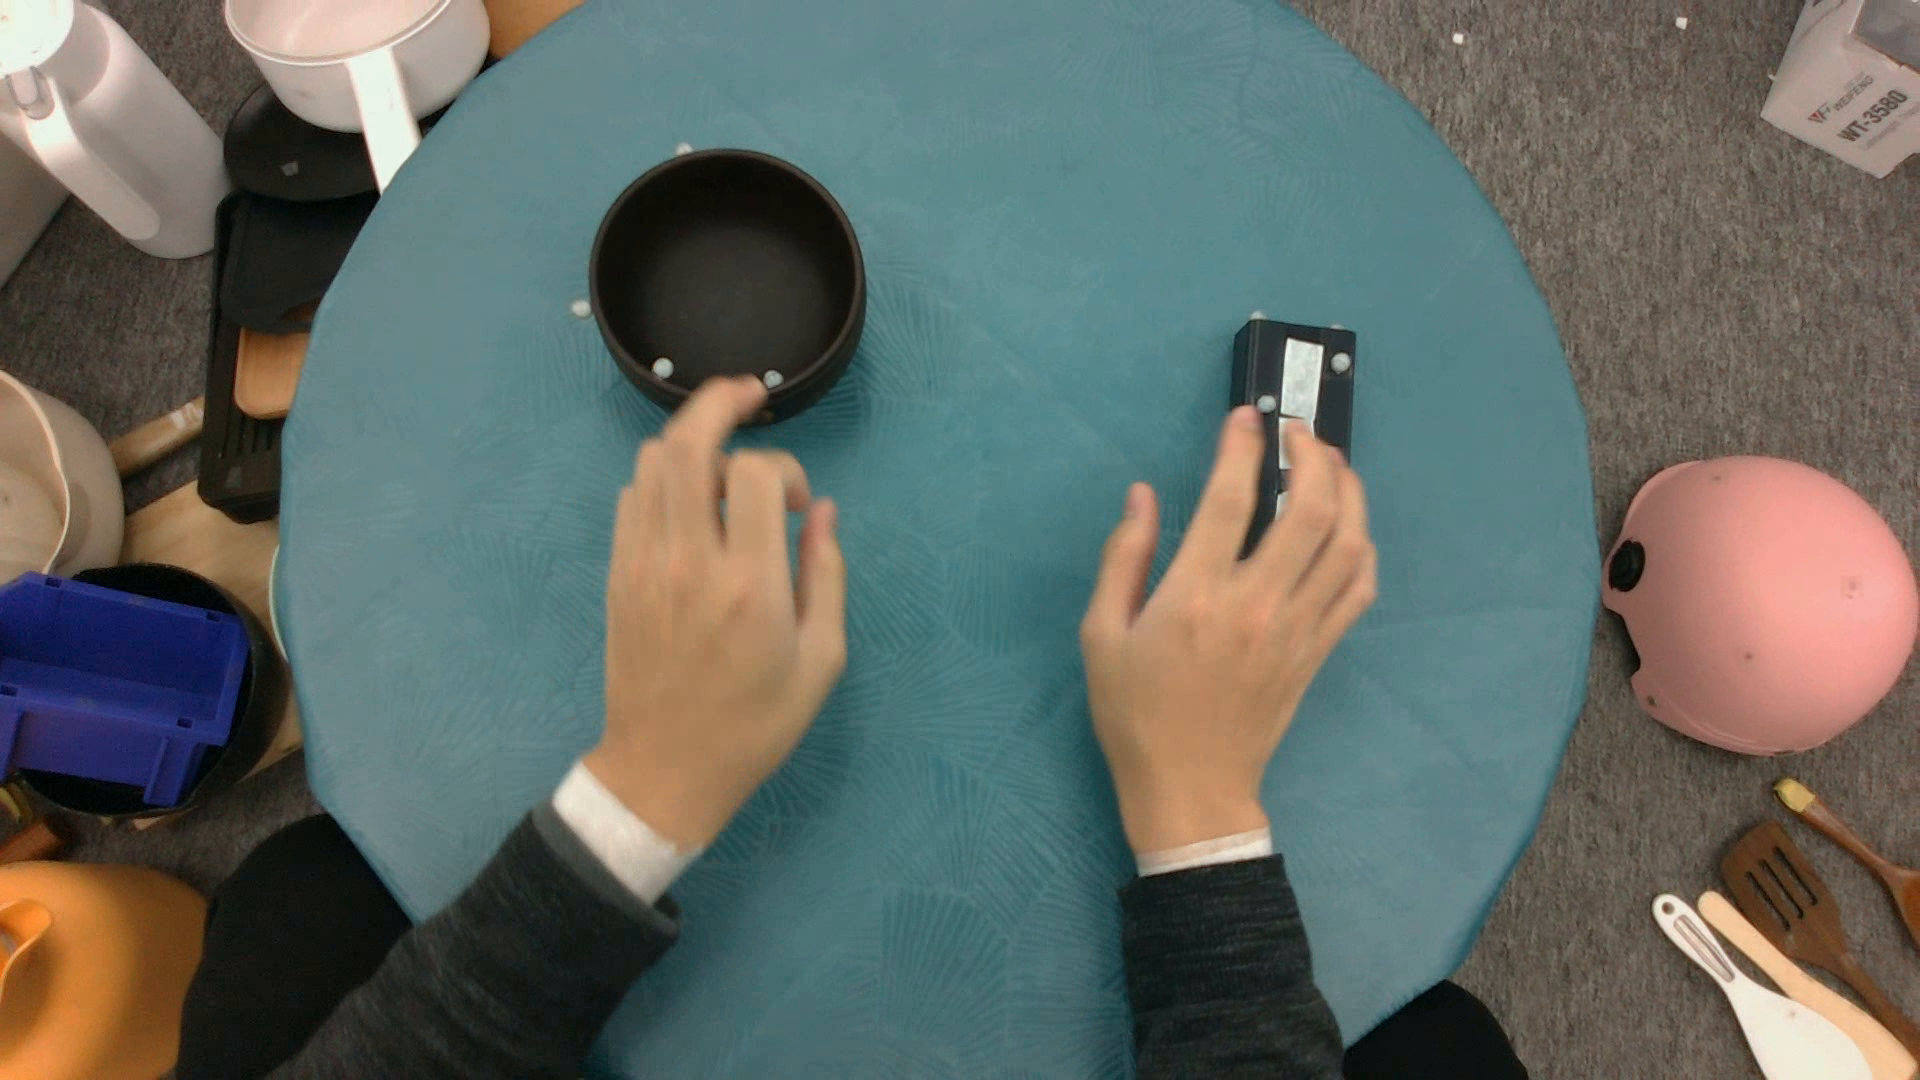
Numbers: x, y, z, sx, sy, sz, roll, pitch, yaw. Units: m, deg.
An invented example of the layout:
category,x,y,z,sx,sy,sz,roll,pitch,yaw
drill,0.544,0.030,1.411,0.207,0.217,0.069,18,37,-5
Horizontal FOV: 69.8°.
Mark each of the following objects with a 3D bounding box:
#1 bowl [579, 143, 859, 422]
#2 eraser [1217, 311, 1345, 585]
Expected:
category,x,y,z,sx,sy,sz,roll,pitch,yaw
bowl,-0.104,-0.107,0.607,0.118,0.069,0.118,2,75,-6
eraser,0.147,-0.043,0.630,0.053,0.030,0.126,5,75,0
